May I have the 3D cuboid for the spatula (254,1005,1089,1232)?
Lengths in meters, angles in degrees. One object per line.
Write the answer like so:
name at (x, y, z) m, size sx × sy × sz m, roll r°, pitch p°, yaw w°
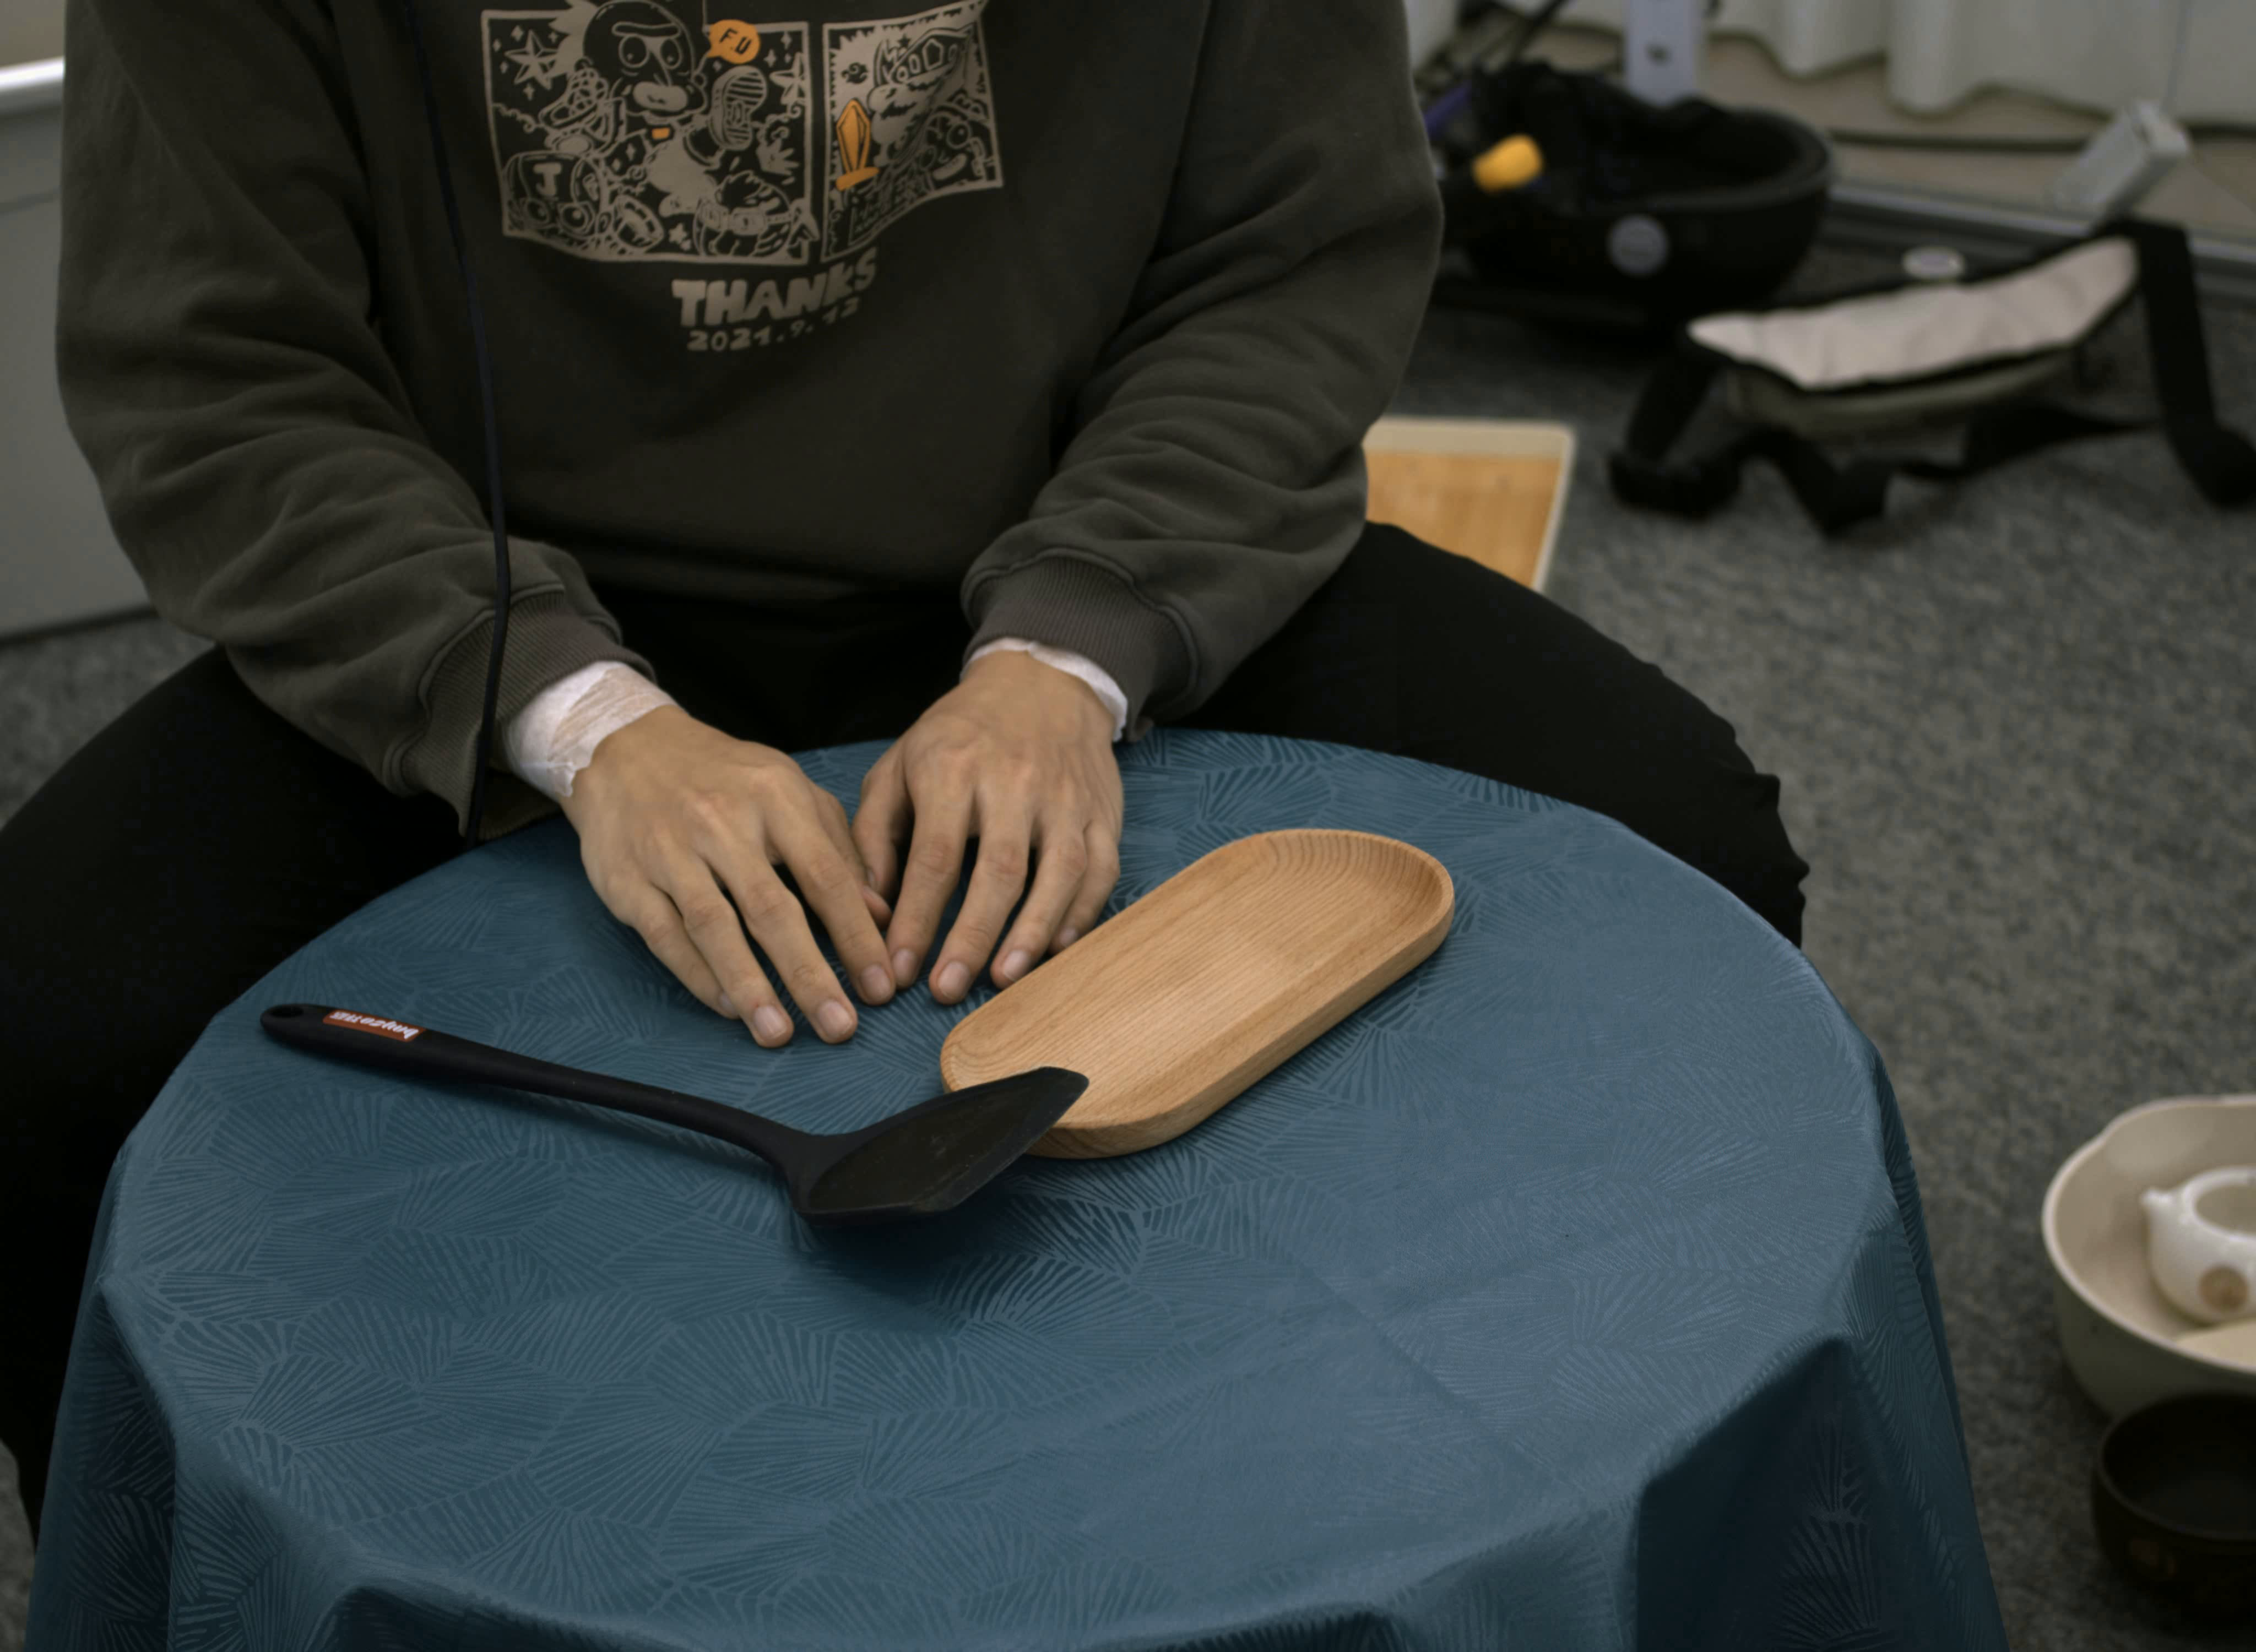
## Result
spatula at (-0.169, 0.088, 1.902) m, size 0.324 × 0.040 × 0.101 m, roll 13°, pitch 30°, yaw 28°

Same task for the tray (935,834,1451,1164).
tray at (0.025, 0.059, 1.961) m, size 0.101 × 0.020 × 0.234 m, roll 17°, pitch 35°, yaw 34°
